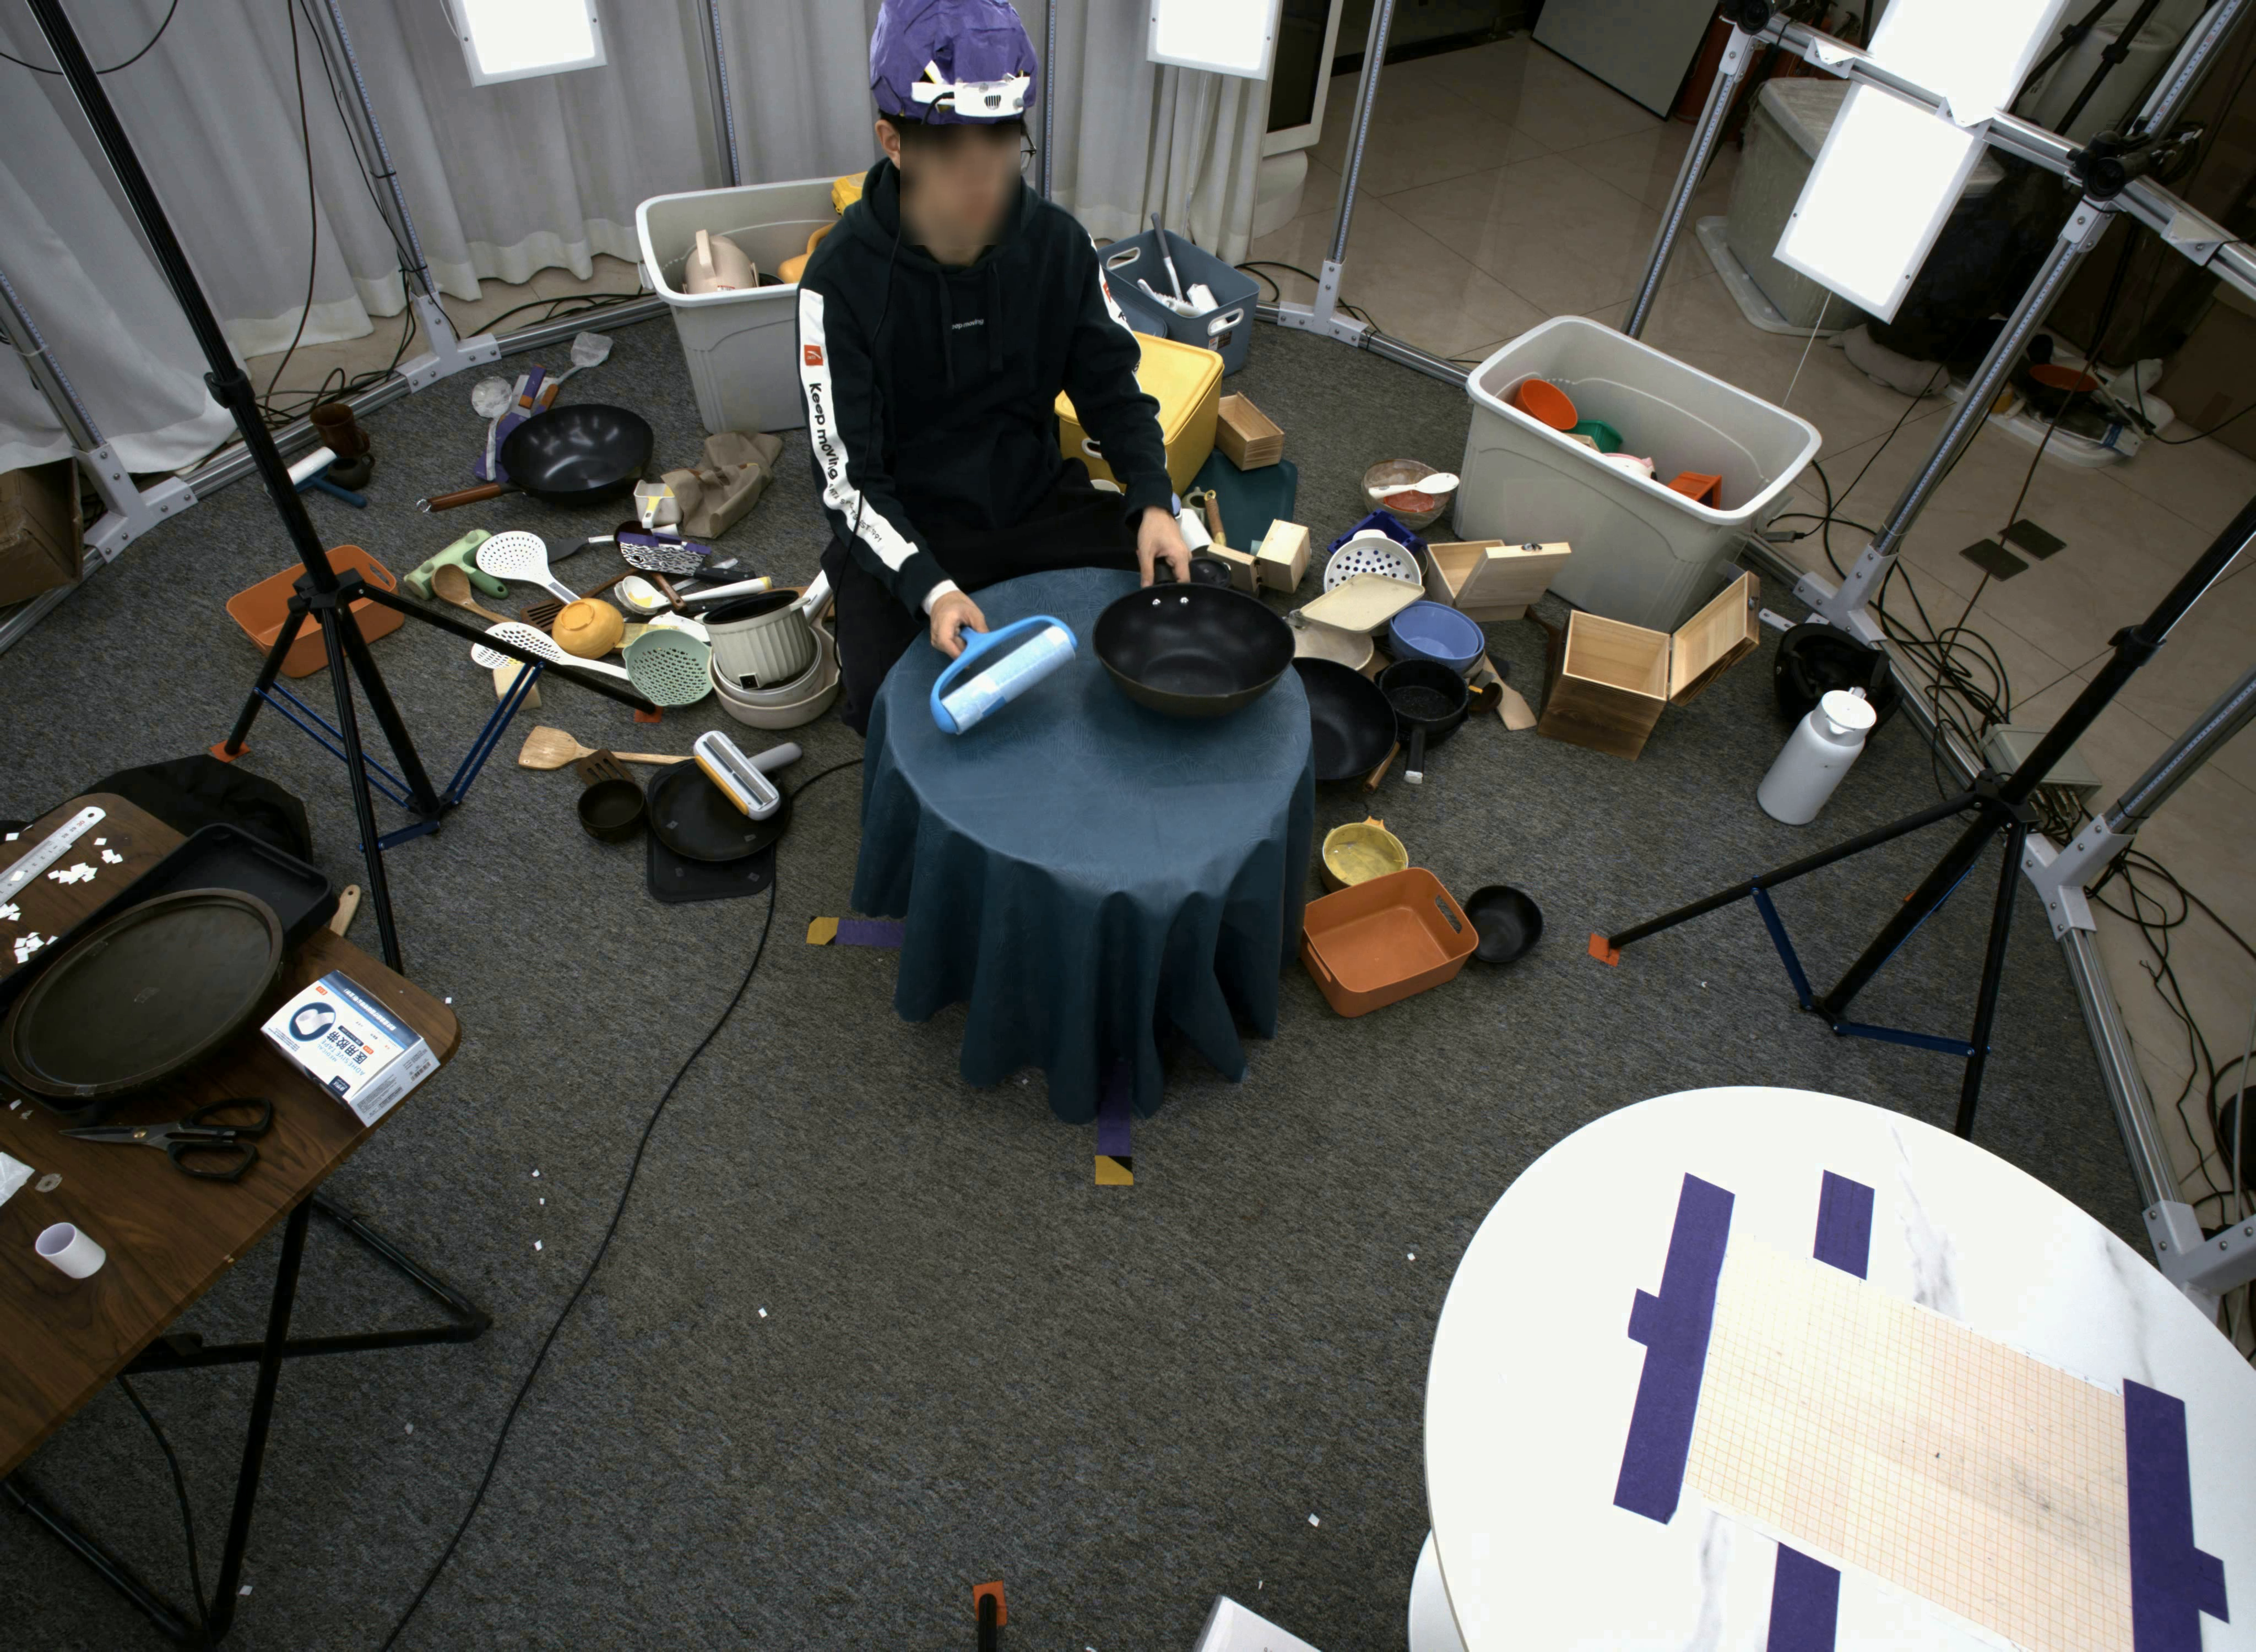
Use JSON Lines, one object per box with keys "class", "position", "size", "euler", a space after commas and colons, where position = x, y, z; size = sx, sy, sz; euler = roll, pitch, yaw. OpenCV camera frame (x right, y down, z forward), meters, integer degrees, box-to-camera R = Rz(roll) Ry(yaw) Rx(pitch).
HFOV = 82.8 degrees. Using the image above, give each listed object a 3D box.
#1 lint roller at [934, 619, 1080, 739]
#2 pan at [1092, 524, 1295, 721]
{"class": "lint roller", "position": [-0.198, -0.229, 1.777], "size": [0.230, 0.066, 0.183], "euler": [-39, 57, -16]}
{"class": "pan", "position": [0.071, -0.294, 1.879], "size": [0.288, 0.085, 0.475], "euler": [-6, 42, -11]}
